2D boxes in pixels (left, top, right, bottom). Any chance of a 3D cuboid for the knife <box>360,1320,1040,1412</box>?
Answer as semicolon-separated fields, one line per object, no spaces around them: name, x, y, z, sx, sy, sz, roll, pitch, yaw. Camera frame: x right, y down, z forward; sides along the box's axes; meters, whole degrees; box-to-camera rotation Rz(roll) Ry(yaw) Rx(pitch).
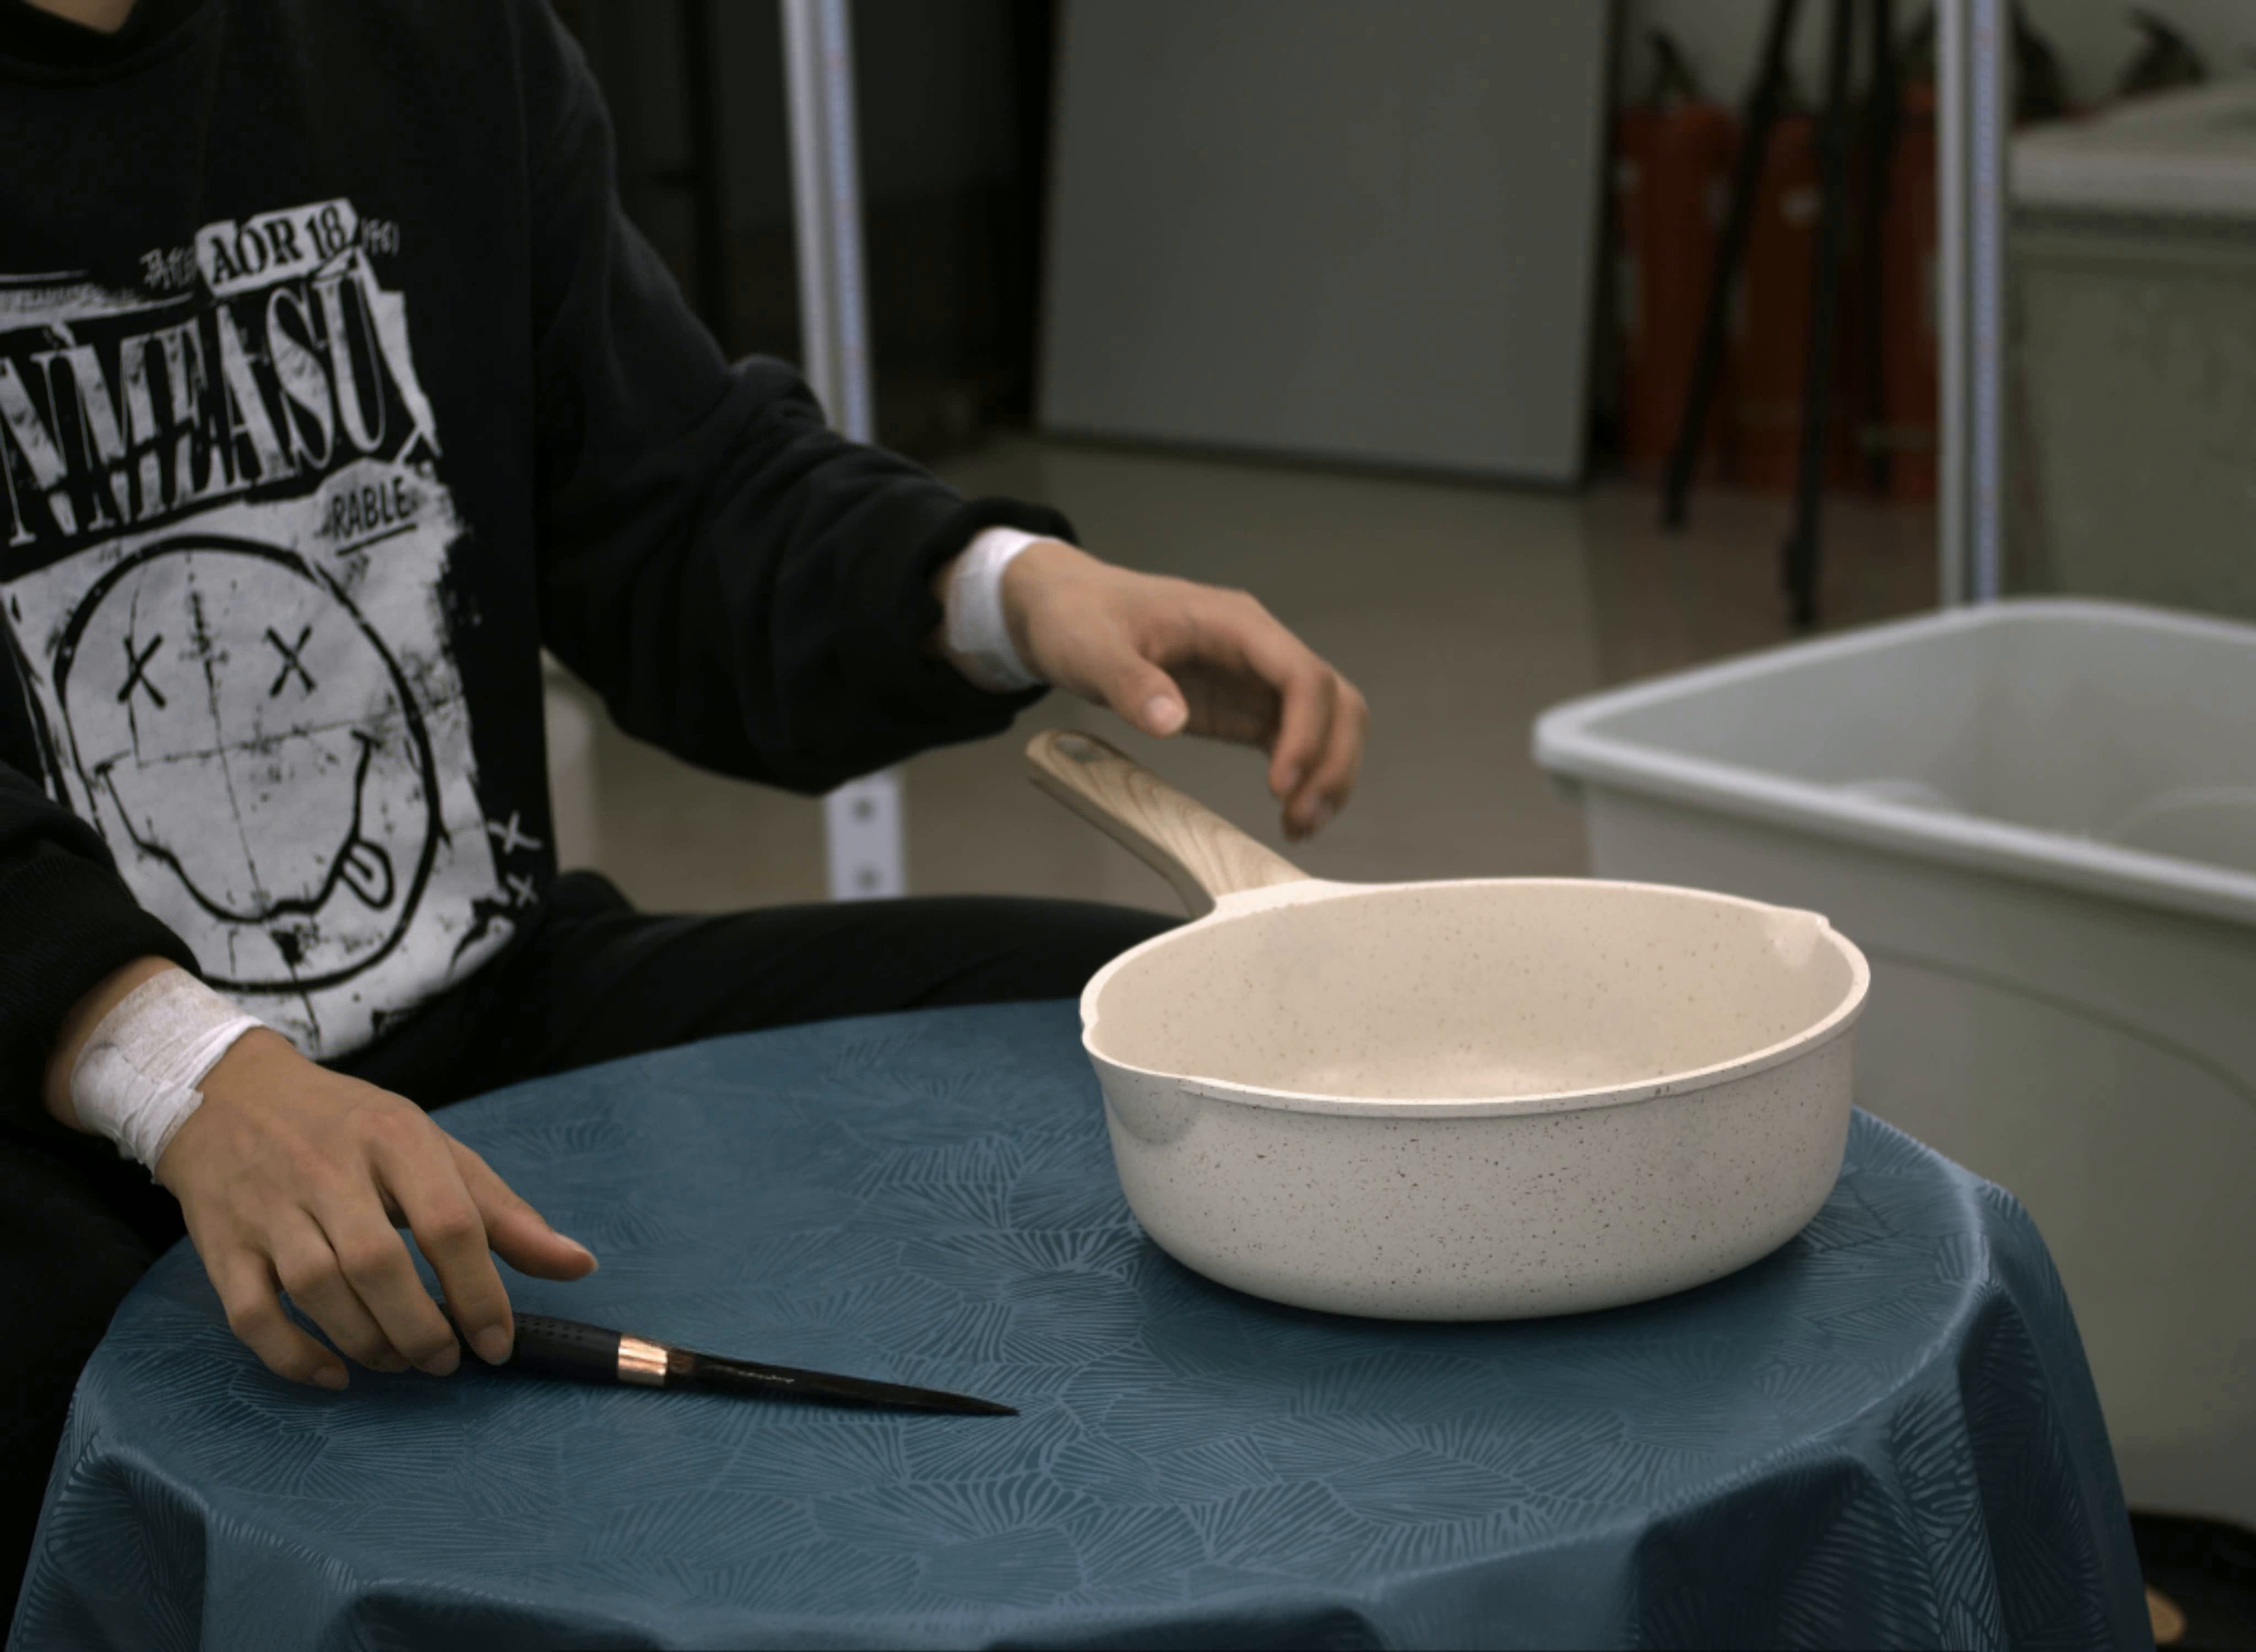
knife;-0.130;0.164;1.623;0.226;0.017;0.026;3;-1;24

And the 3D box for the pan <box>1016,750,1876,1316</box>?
pan;0.073;0.061;1.787;0.258;0.103;0.439;-12;16;-24
